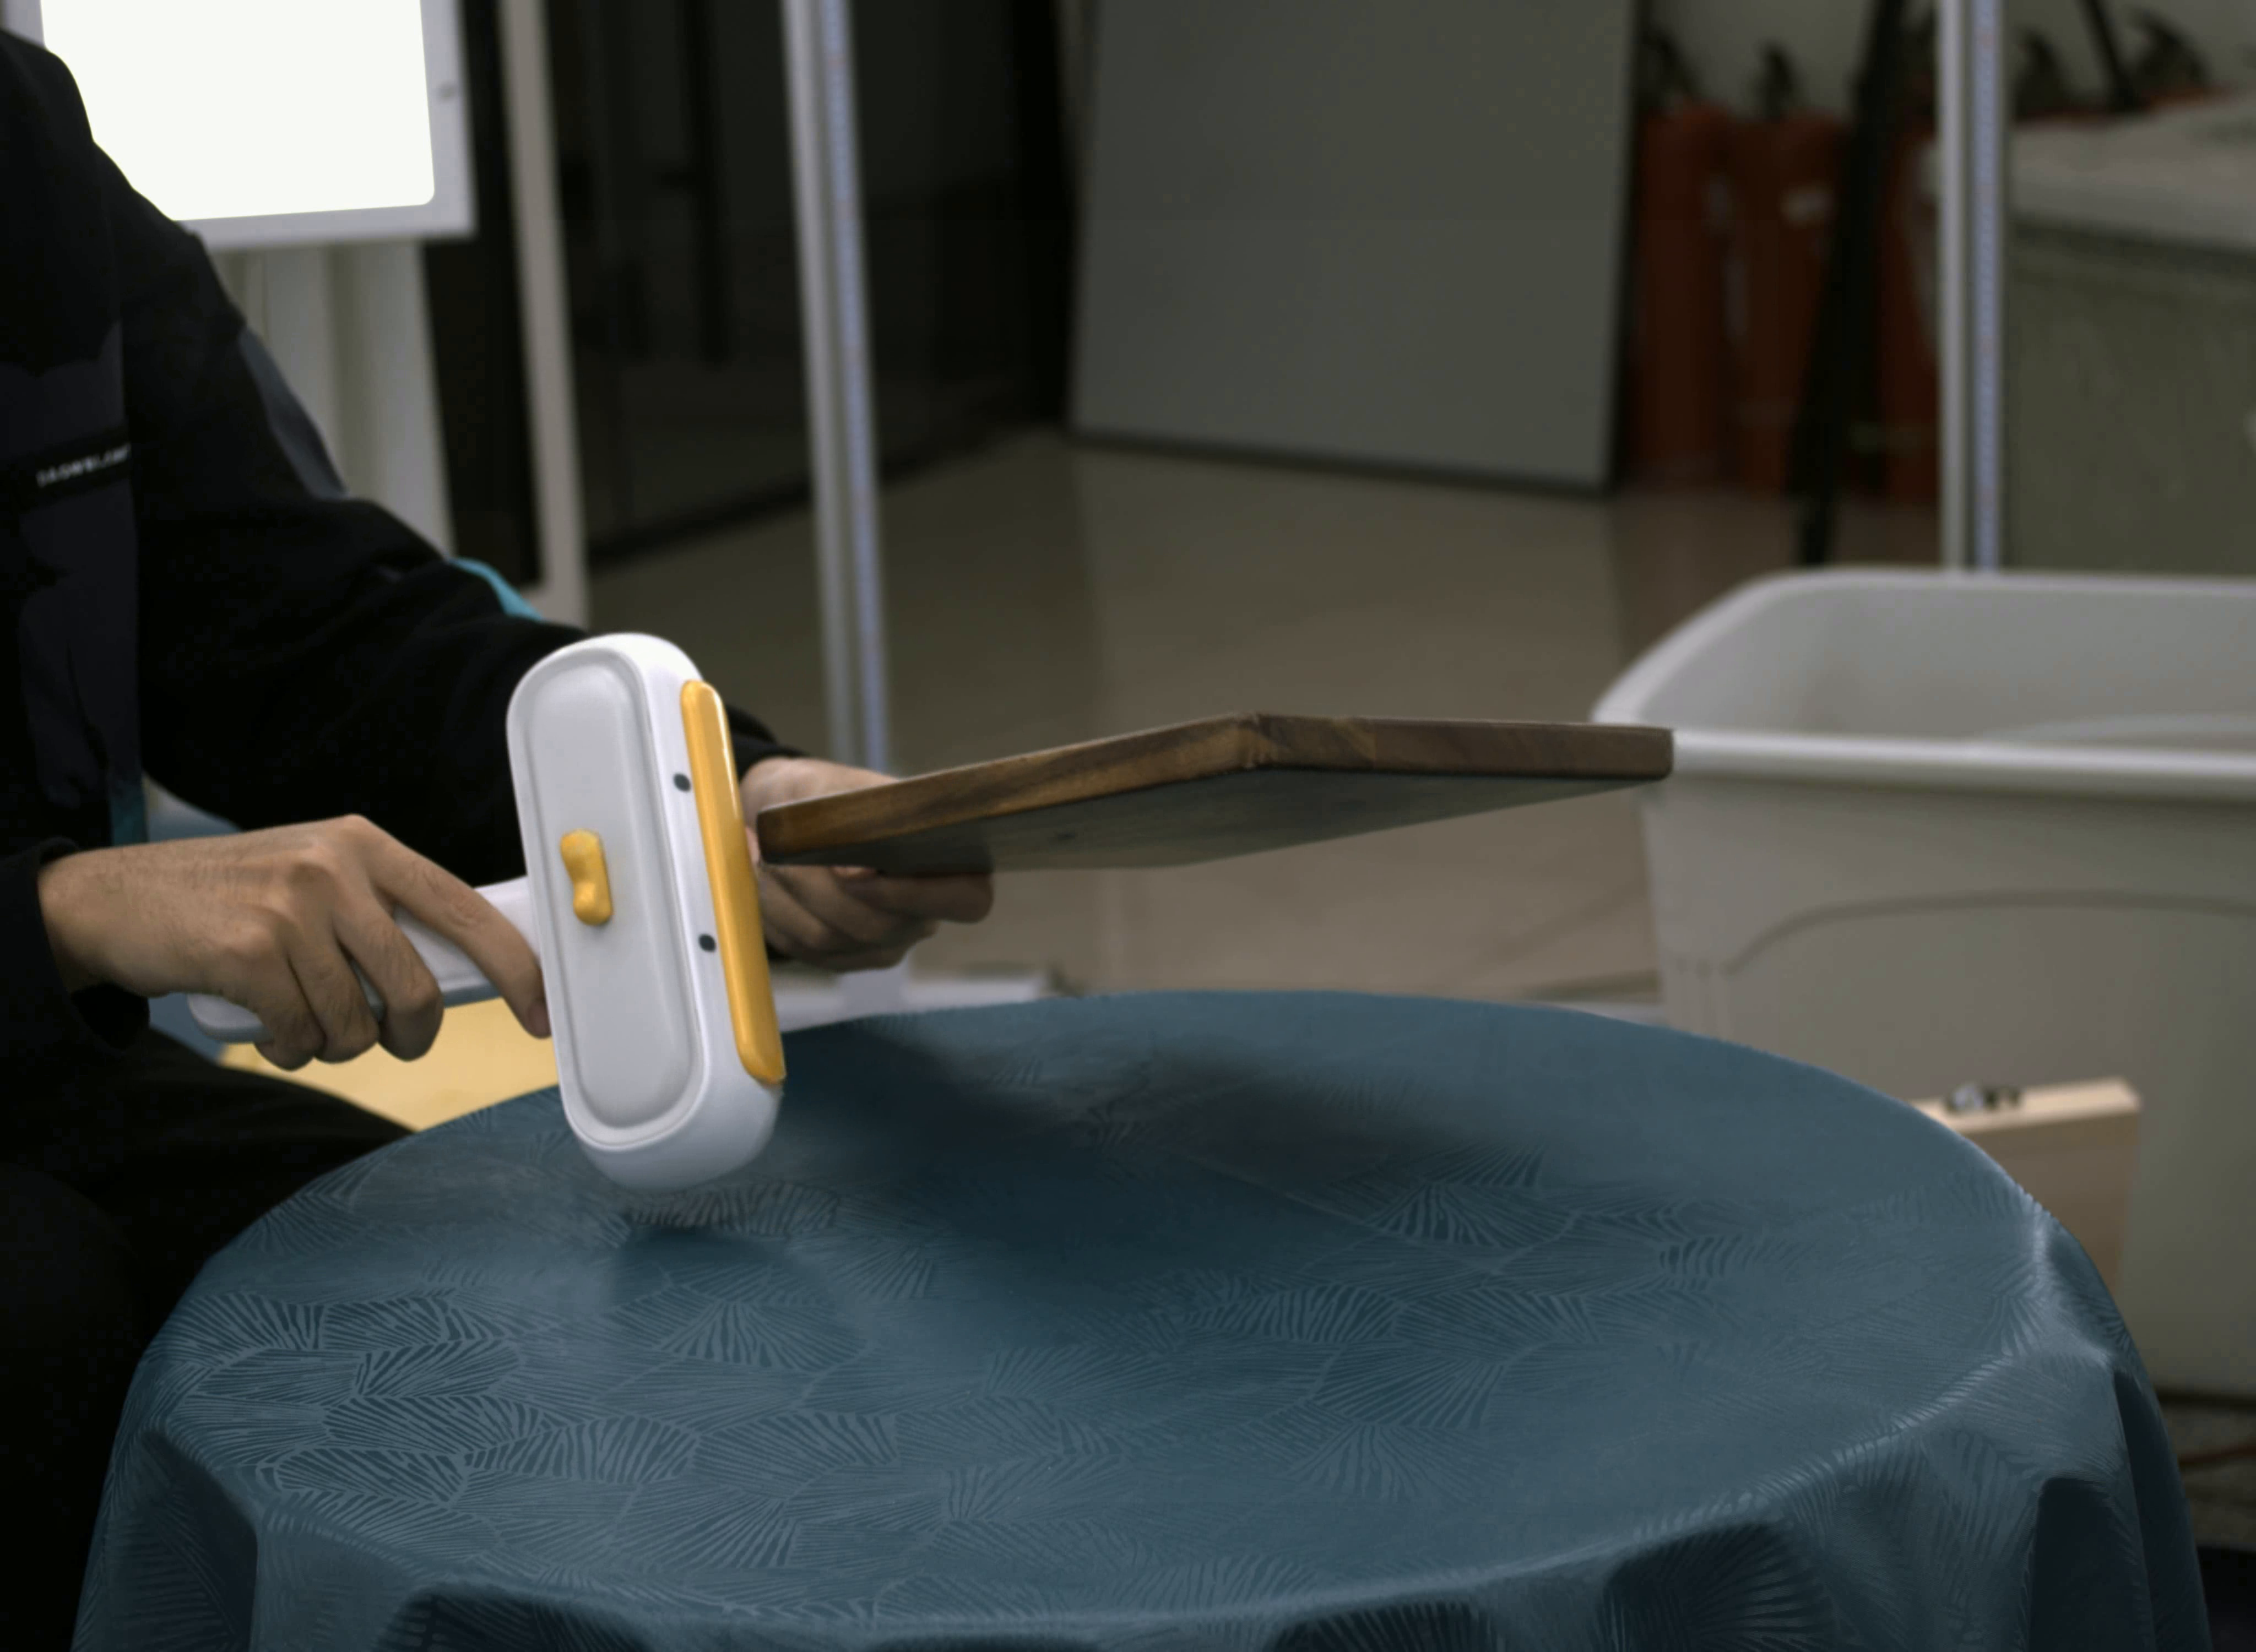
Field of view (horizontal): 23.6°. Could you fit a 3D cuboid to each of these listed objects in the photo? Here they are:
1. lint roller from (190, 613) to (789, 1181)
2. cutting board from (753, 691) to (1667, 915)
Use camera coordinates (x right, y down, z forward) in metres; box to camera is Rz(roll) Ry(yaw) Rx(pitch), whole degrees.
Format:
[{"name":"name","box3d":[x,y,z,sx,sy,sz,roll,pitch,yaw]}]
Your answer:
[{"name":"lint roller","box3d":[-0.217,0.040,1.800,0.191,0.195,0.073,-19,-18,13]},{"name":"cutting board","box3d":[-0.007,-0.004,1.821,0.196,0.023,0.355,2,-10,-42]}]
